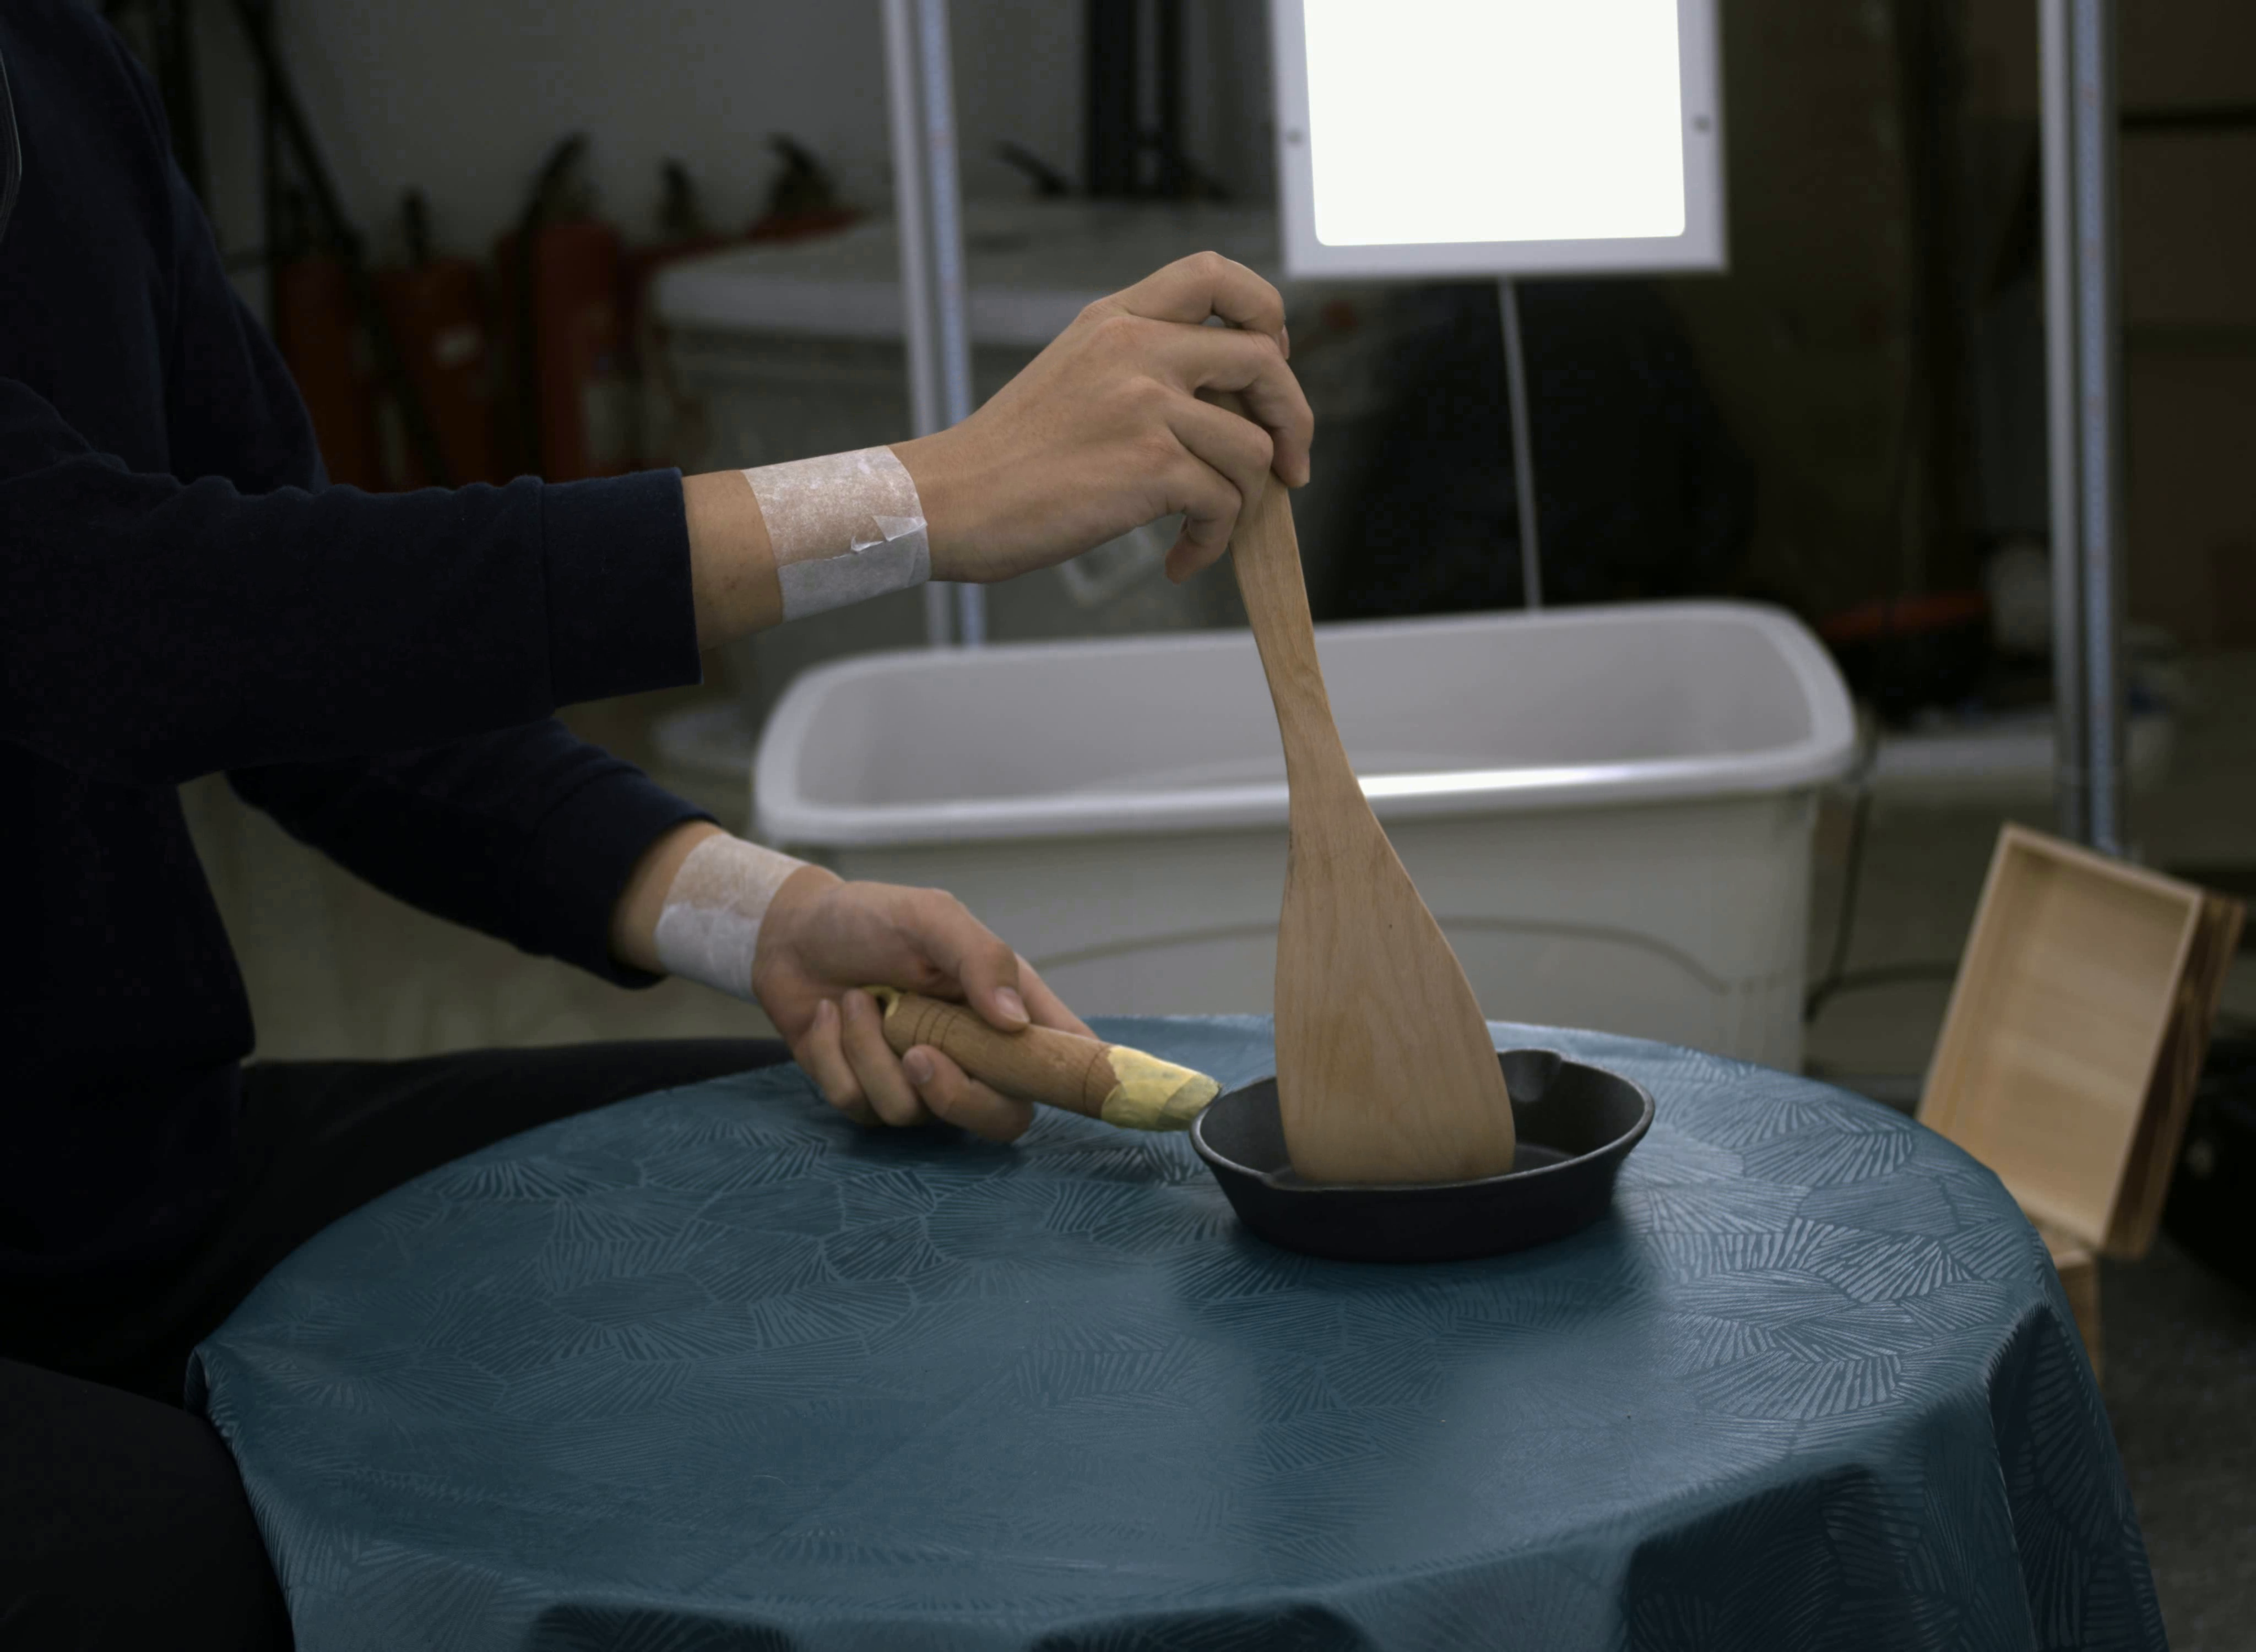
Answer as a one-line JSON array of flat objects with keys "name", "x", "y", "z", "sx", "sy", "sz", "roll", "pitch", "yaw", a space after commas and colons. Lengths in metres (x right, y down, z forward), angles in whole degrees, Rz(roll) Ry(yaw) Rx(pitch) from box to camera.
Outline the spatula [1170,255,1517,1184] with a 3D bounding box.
[{"name": "spatula", "x": 0.060, "y": -0.030, "z": 1.843, "sx": 0.080, "sy": 0.328, "sz": 0.016, "roll": -13, "pitch": 6, "yaw": 5}]

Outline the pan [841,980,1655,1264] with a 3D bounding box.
[{"name": "pan", "x": 0.032, "y": 0.096, "z": 1.901, "sx": 0.331, "sy": 0.050, "sz": 0.165, "roll": 8, "pitch": 19, "yaw": 38}]
